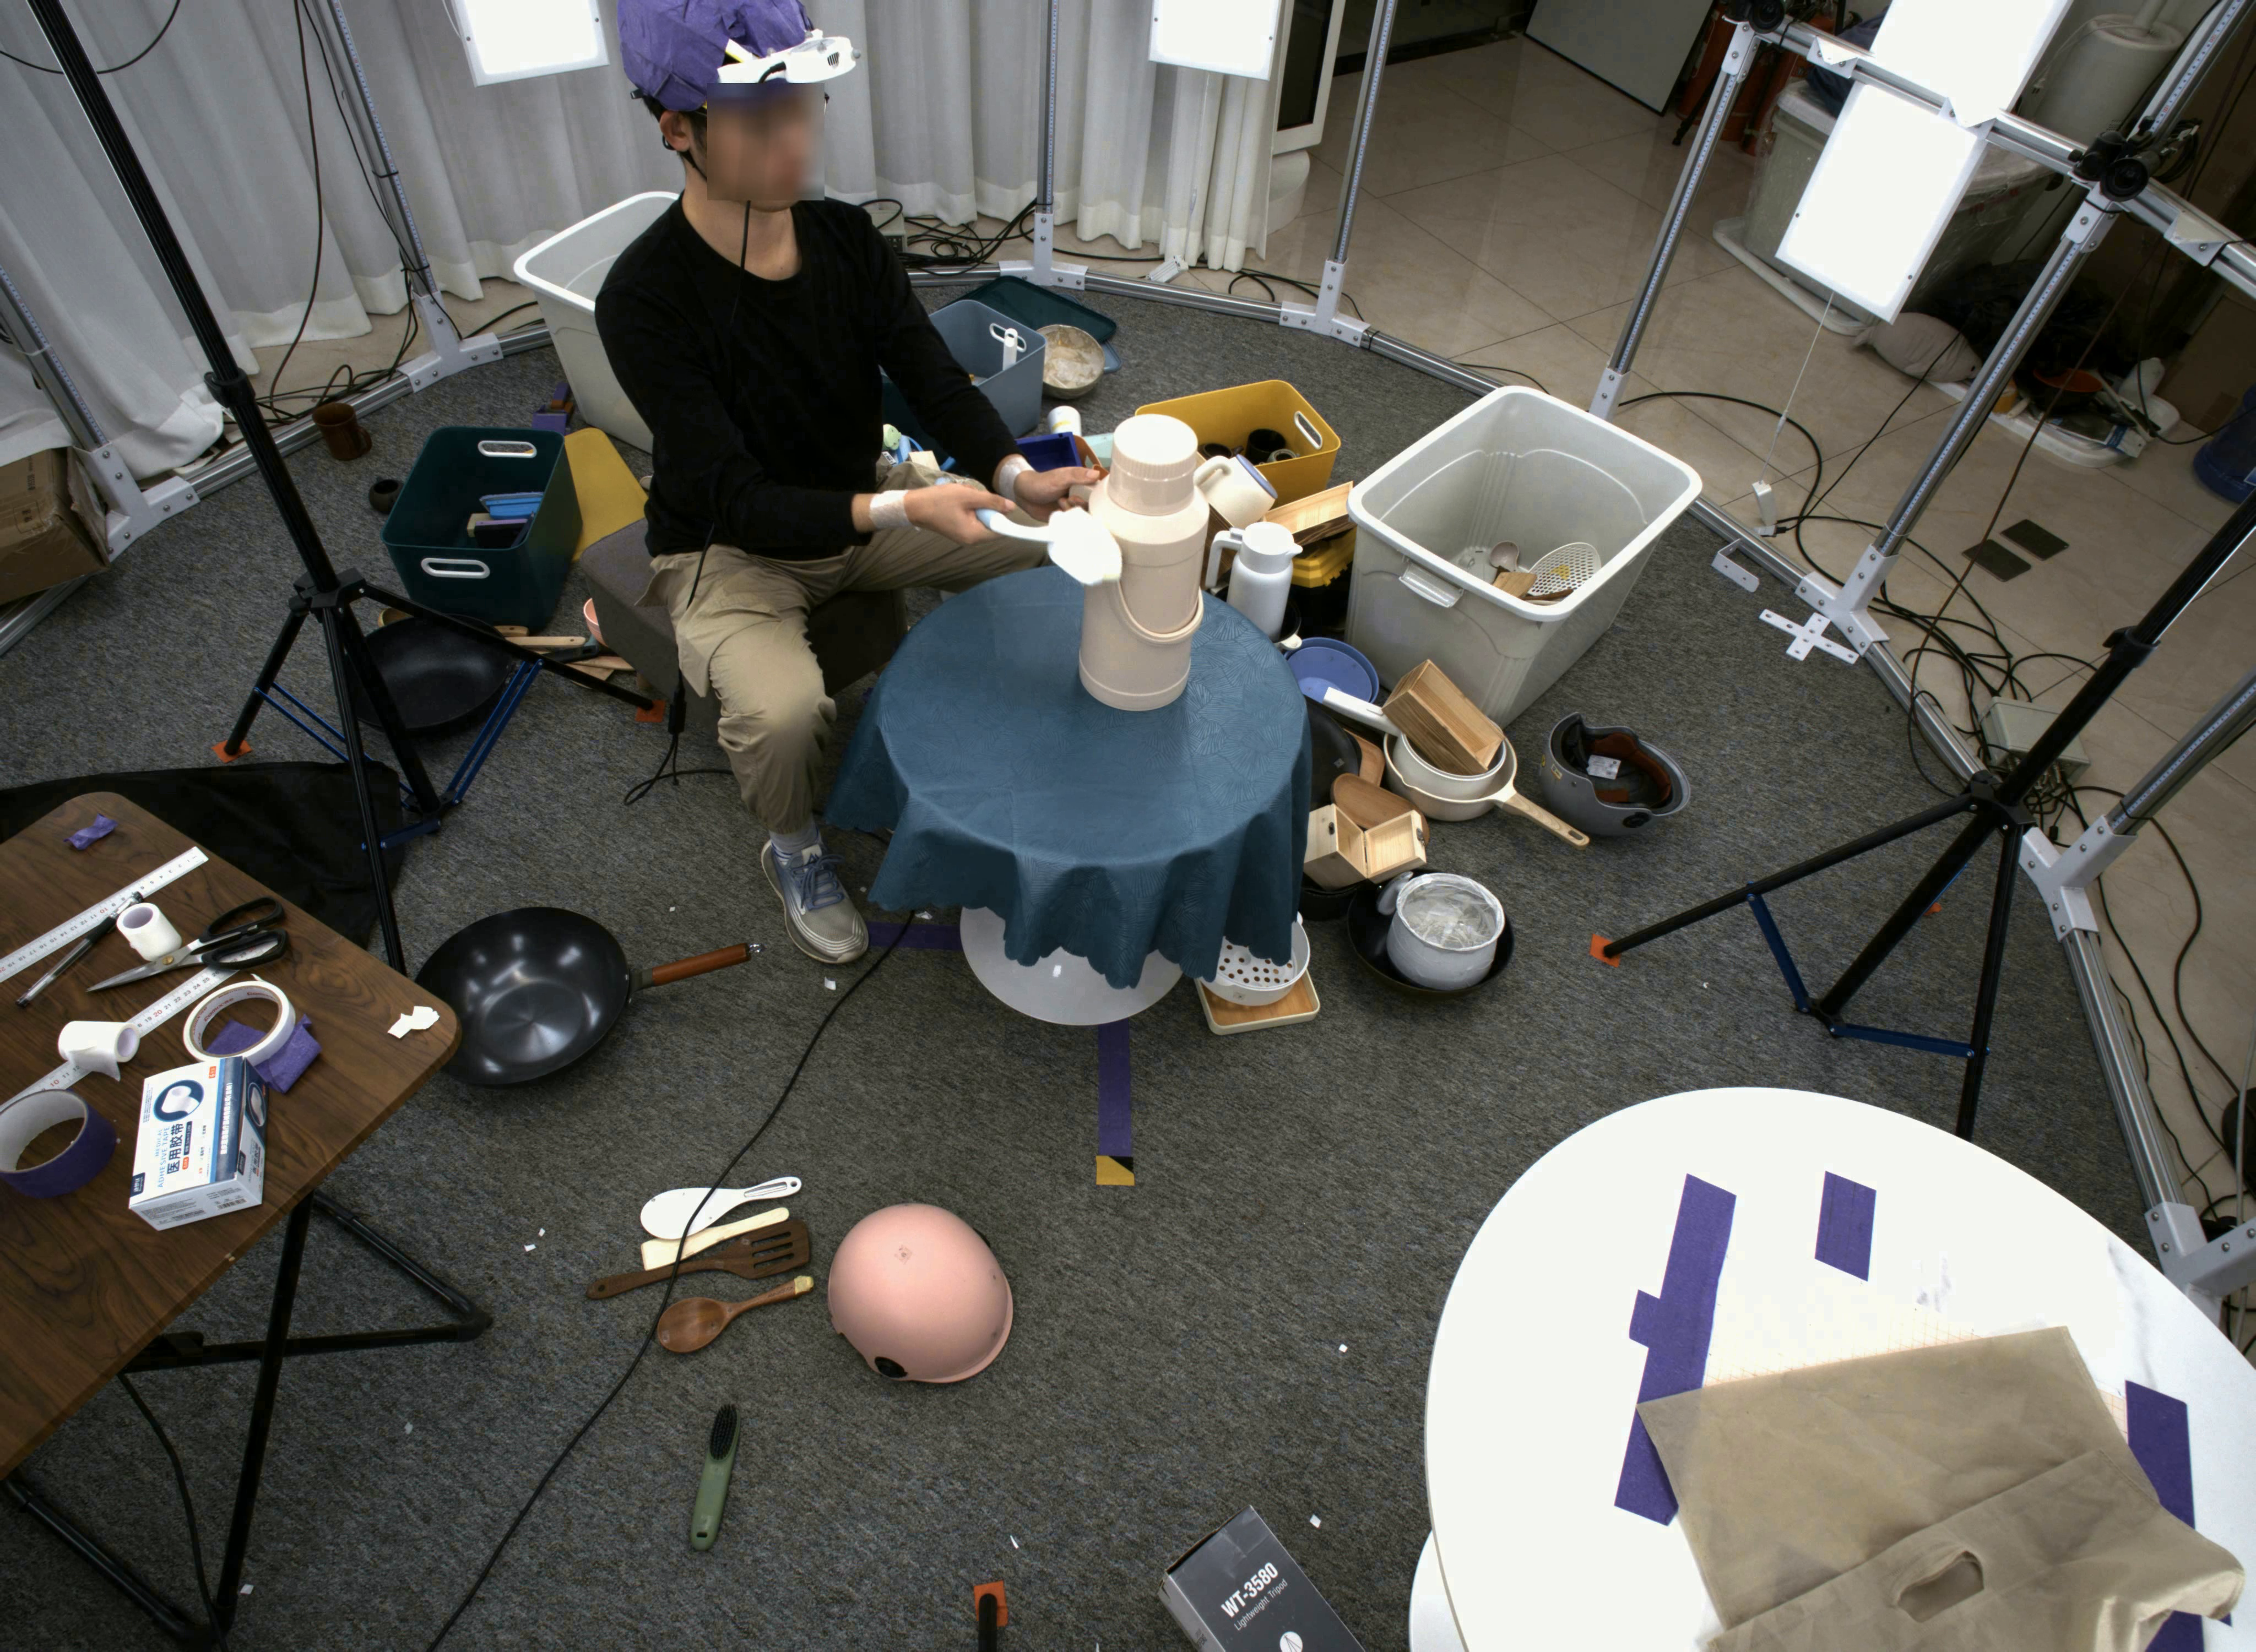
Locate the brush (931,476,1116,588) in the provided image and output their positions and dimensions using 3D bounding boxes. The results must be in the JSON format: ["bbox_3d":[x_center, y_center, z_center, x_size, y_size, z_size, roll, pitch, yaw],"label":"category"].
[{"bbox_3d":[-0.125,-0.395,1.668,0.331,0.083,0.083,36,96,32],"label":"brush"}]

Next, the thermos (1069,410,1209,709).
[{"bbox_3d":[0.010,-0.358,1.725,0.209,0.396,0.178,29,55,18],"label":"thermos"}]
